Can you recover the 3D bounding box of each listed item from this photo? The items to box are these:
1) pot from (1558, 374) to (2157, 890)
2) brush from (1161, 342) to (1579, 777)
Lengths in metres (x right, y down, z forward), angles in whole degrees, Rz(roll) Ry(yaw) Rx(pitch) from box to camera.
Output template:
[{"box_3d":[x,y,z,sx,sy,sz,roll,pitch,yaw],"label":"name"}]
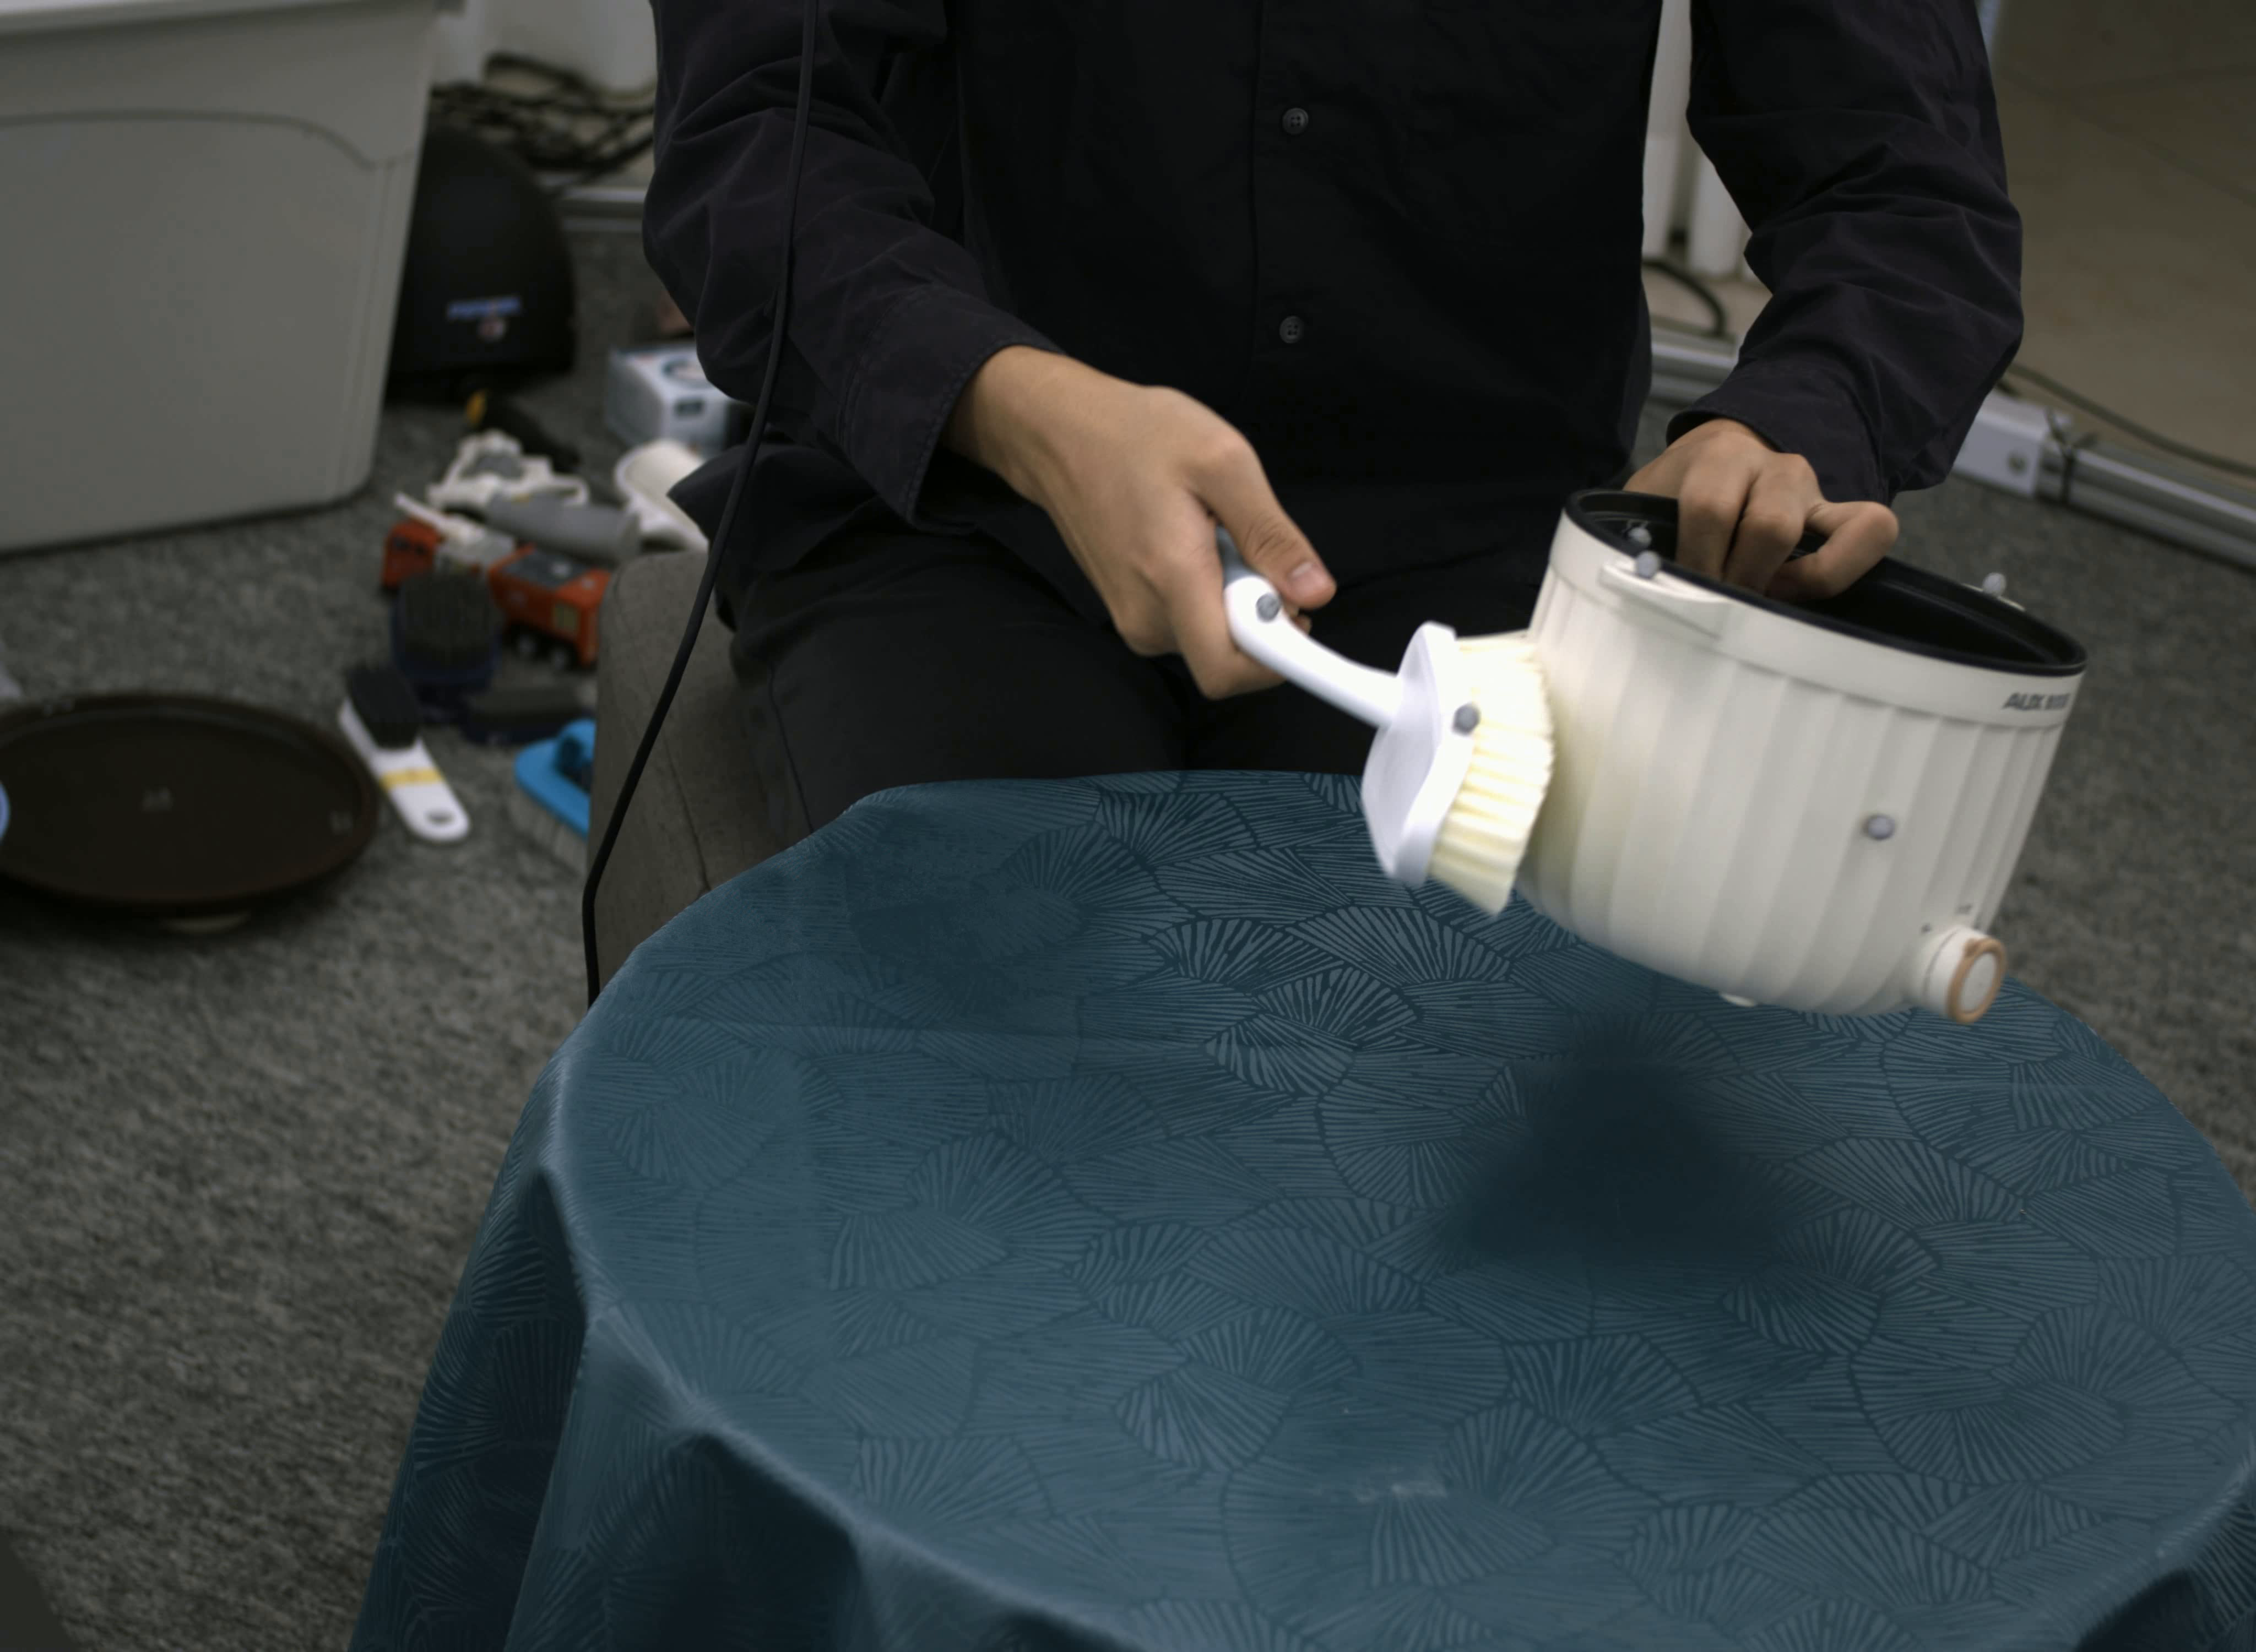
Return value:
[{"box_3d":[0.248,-0.062,1.811,0.192,0.142,0.239,21,14,35],"label":"pot"},{"box_3d":[0.098,-0.103,1.847,0.083,0.084,0.328,-39,29,4],"label":"brush"}]
